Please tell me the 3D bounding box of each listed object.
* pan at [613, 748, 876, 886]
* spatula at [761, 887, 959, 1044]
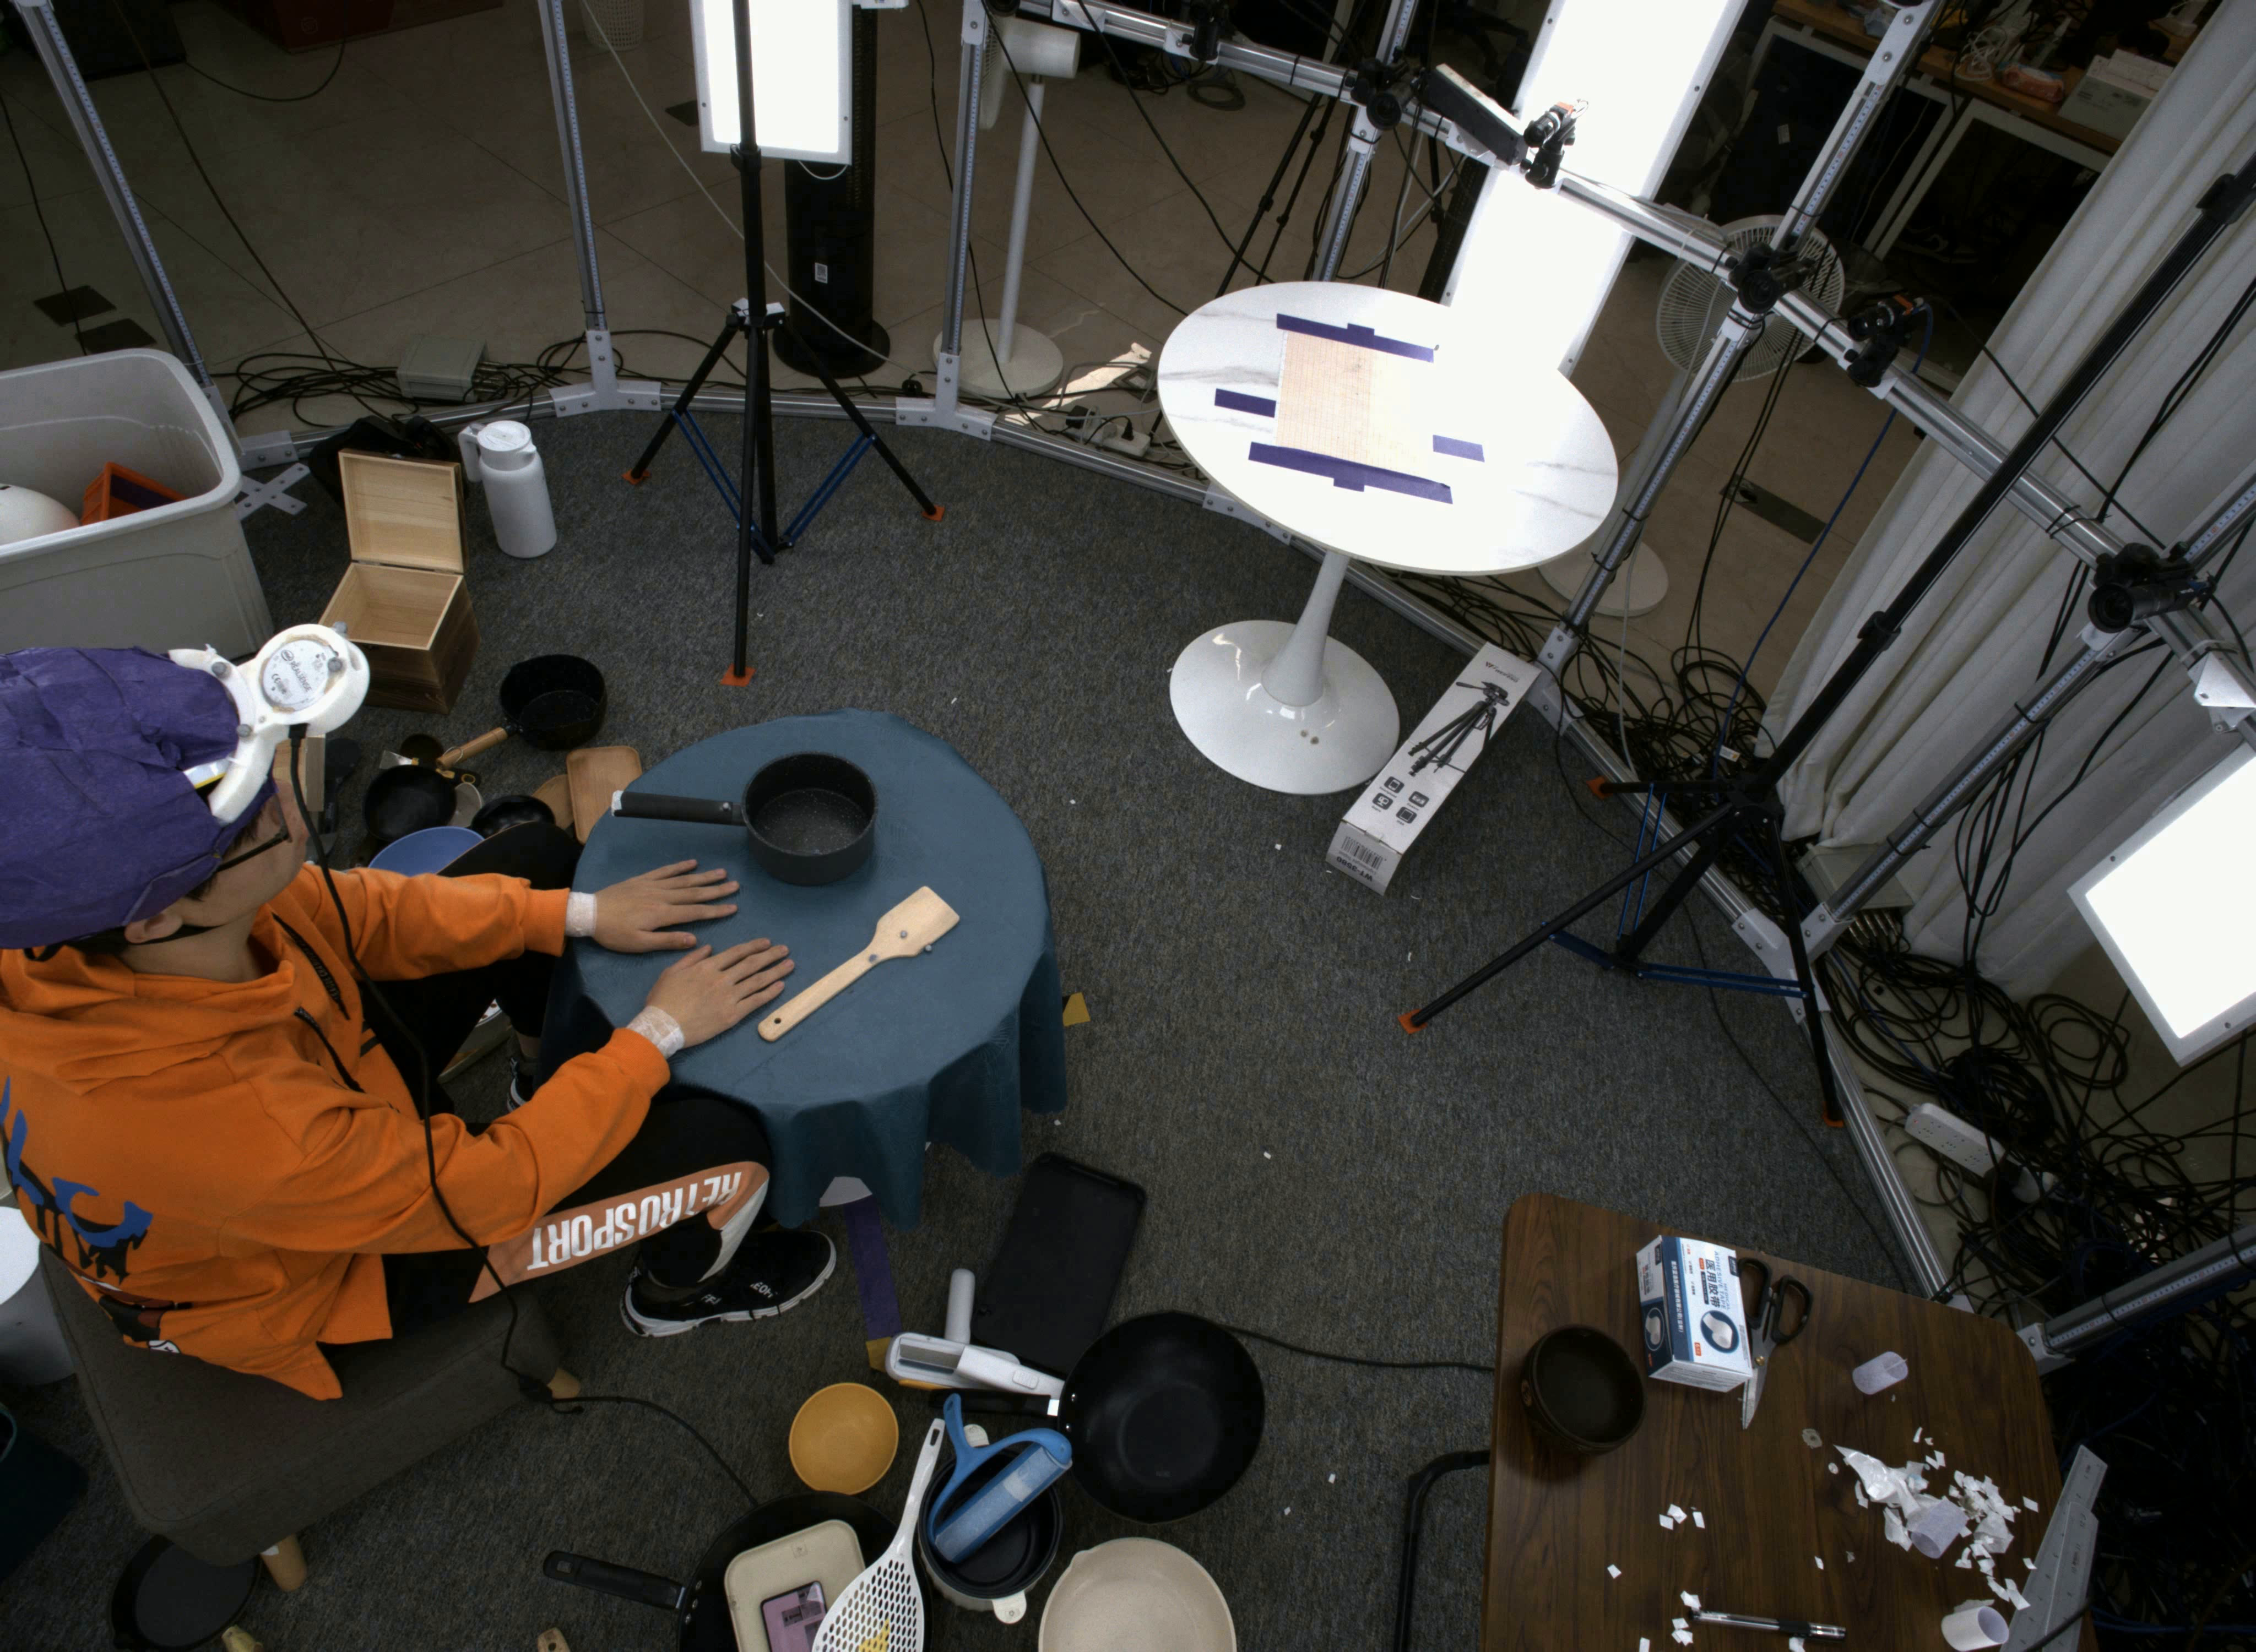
[{"bbox_3d":[-0.489,-0.013,1.652,0.330,0.088,0.168,2,52,-15],"label":"pan"},{"bbox_3d":[-0.334,0.174,1.613,0.071,0.011,0.293,42,54,14],"label":"spatula"}]
